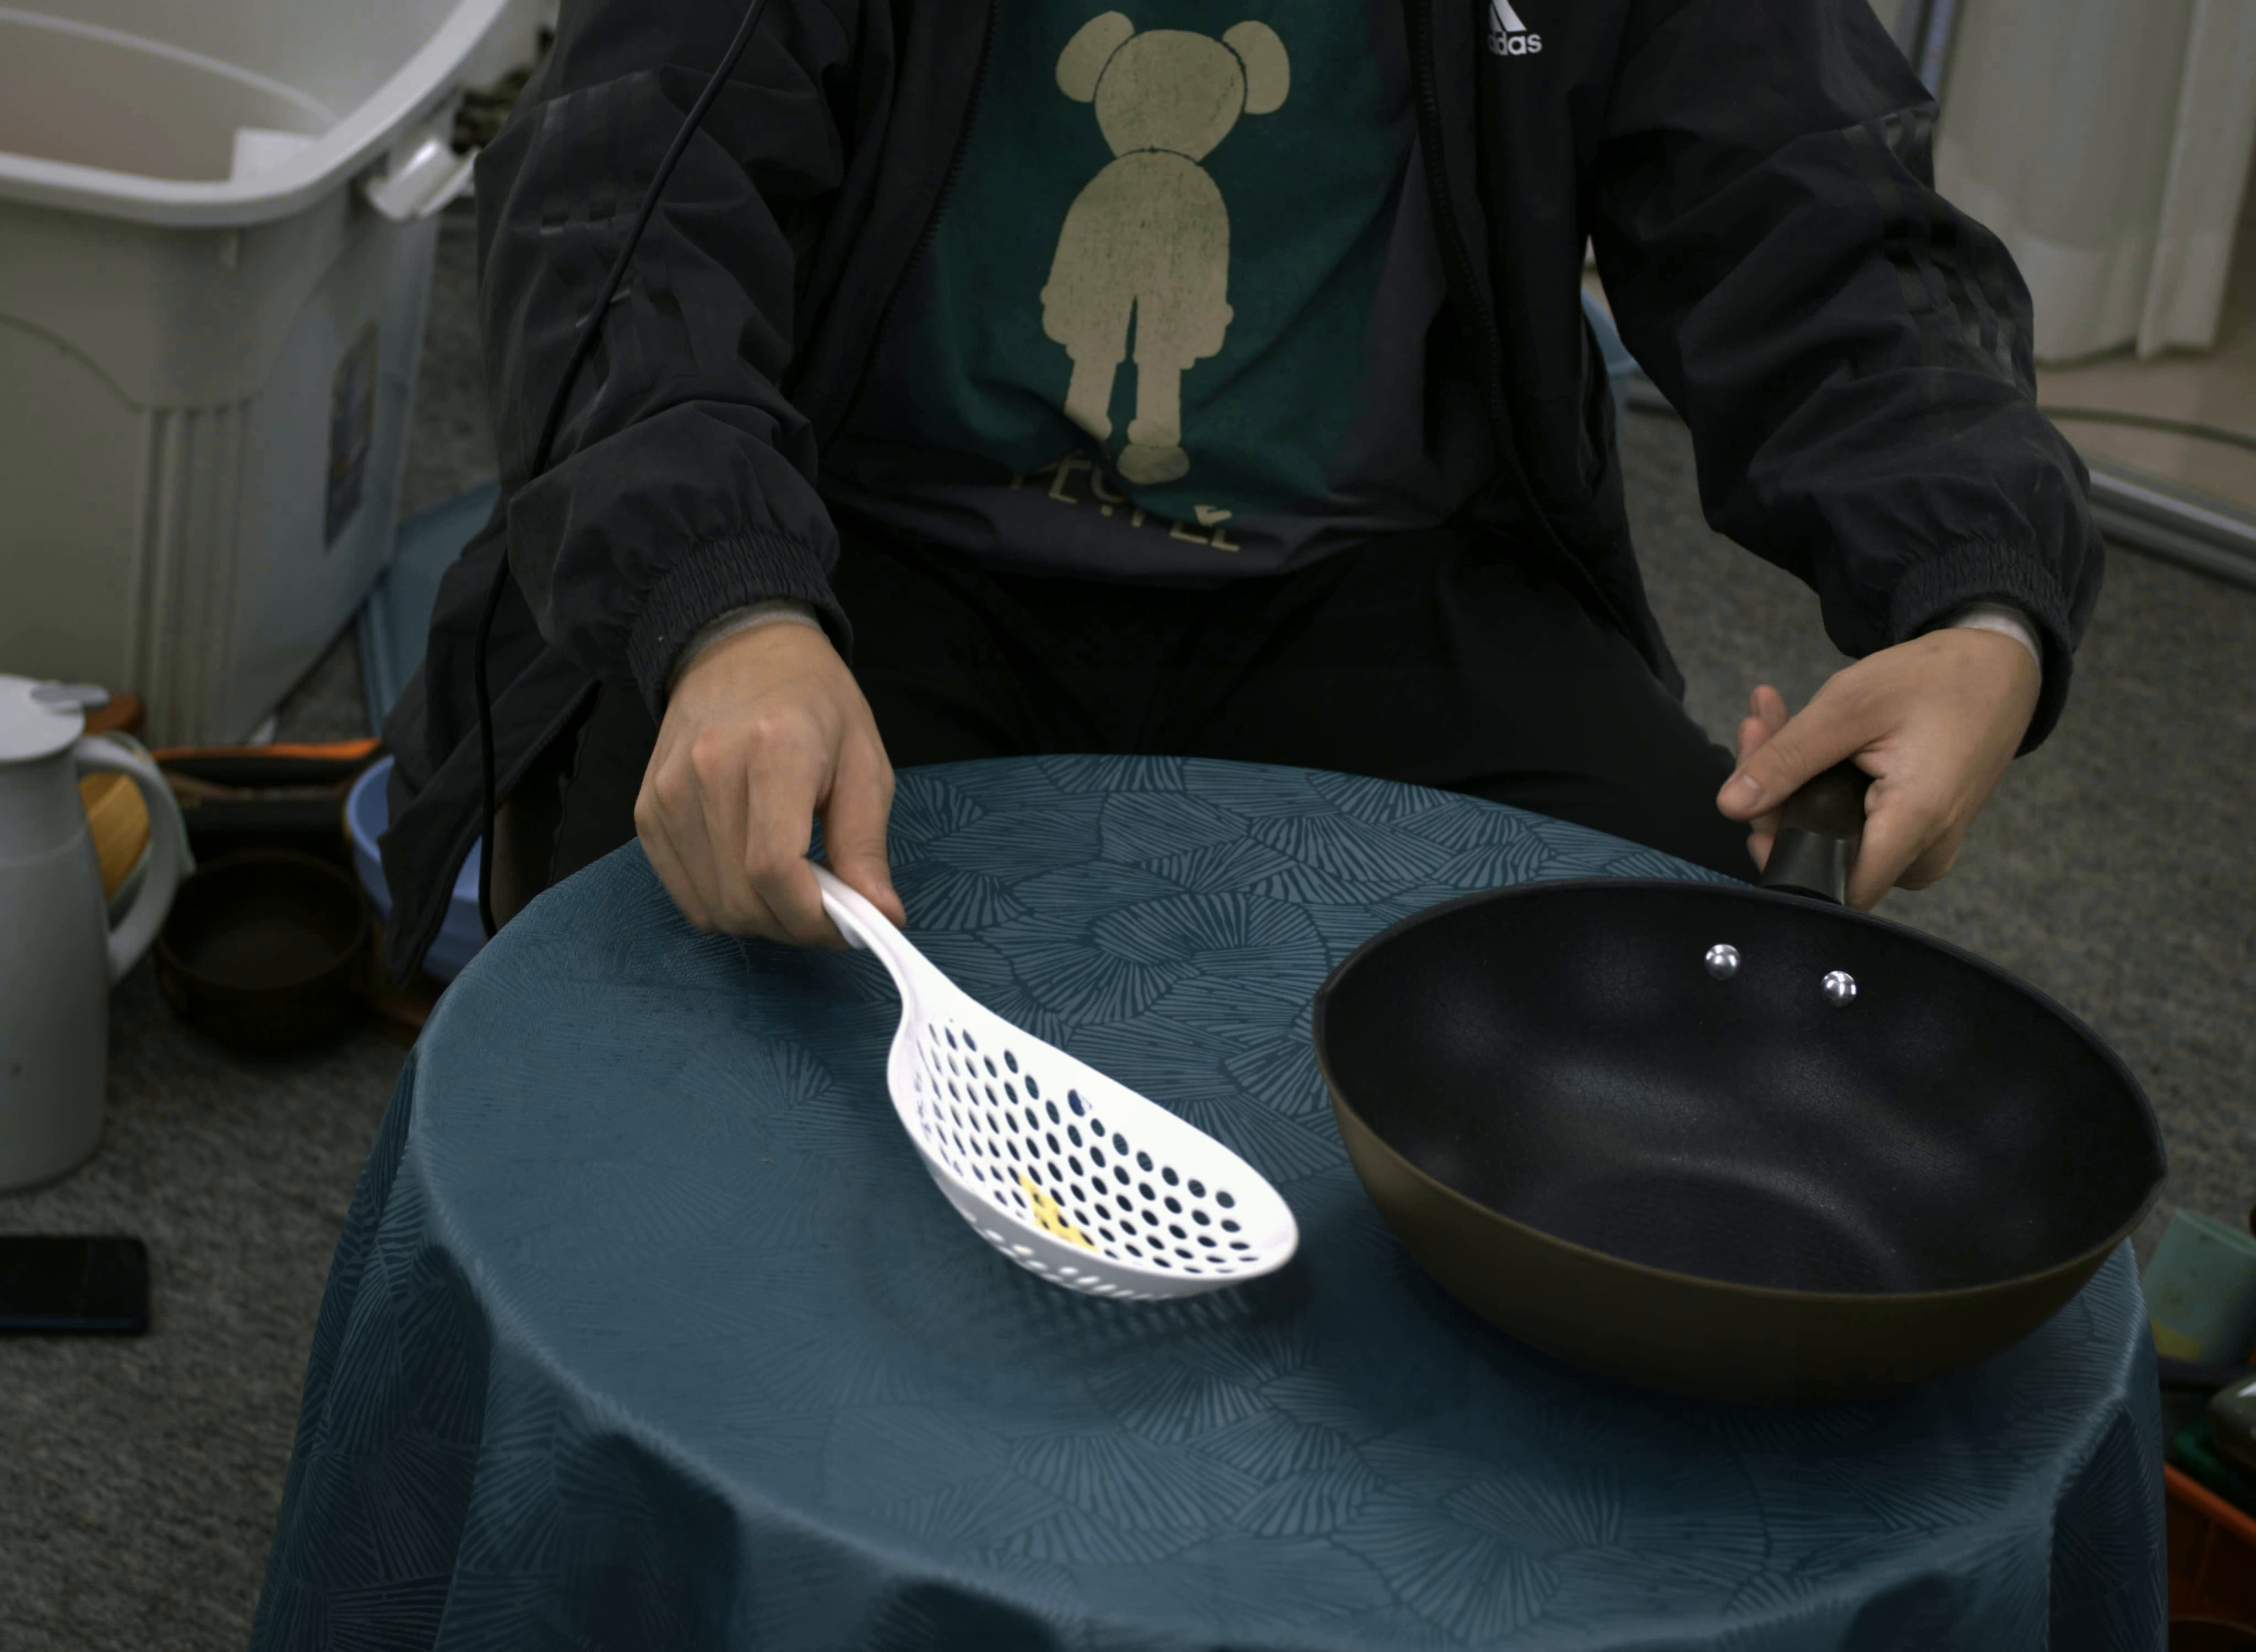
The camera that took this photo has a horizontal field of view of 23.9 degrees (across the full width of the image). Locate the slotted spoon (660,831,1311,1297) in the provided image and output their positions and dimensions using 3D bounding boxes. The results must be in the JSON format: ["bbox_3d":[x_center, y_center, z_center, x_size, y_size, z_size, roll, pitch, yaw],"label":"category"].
[{"bbox_3d":[-0.067,0.071,1.825,0.135,0.050,0.351,4,28,-36],"label":"slotted spoon"}]

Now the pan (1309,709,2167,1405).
[{"bbox_3d":[0.219,0.078,1.853,0.288,0.086,0.464,12,26,11],"label":"pan"}]
